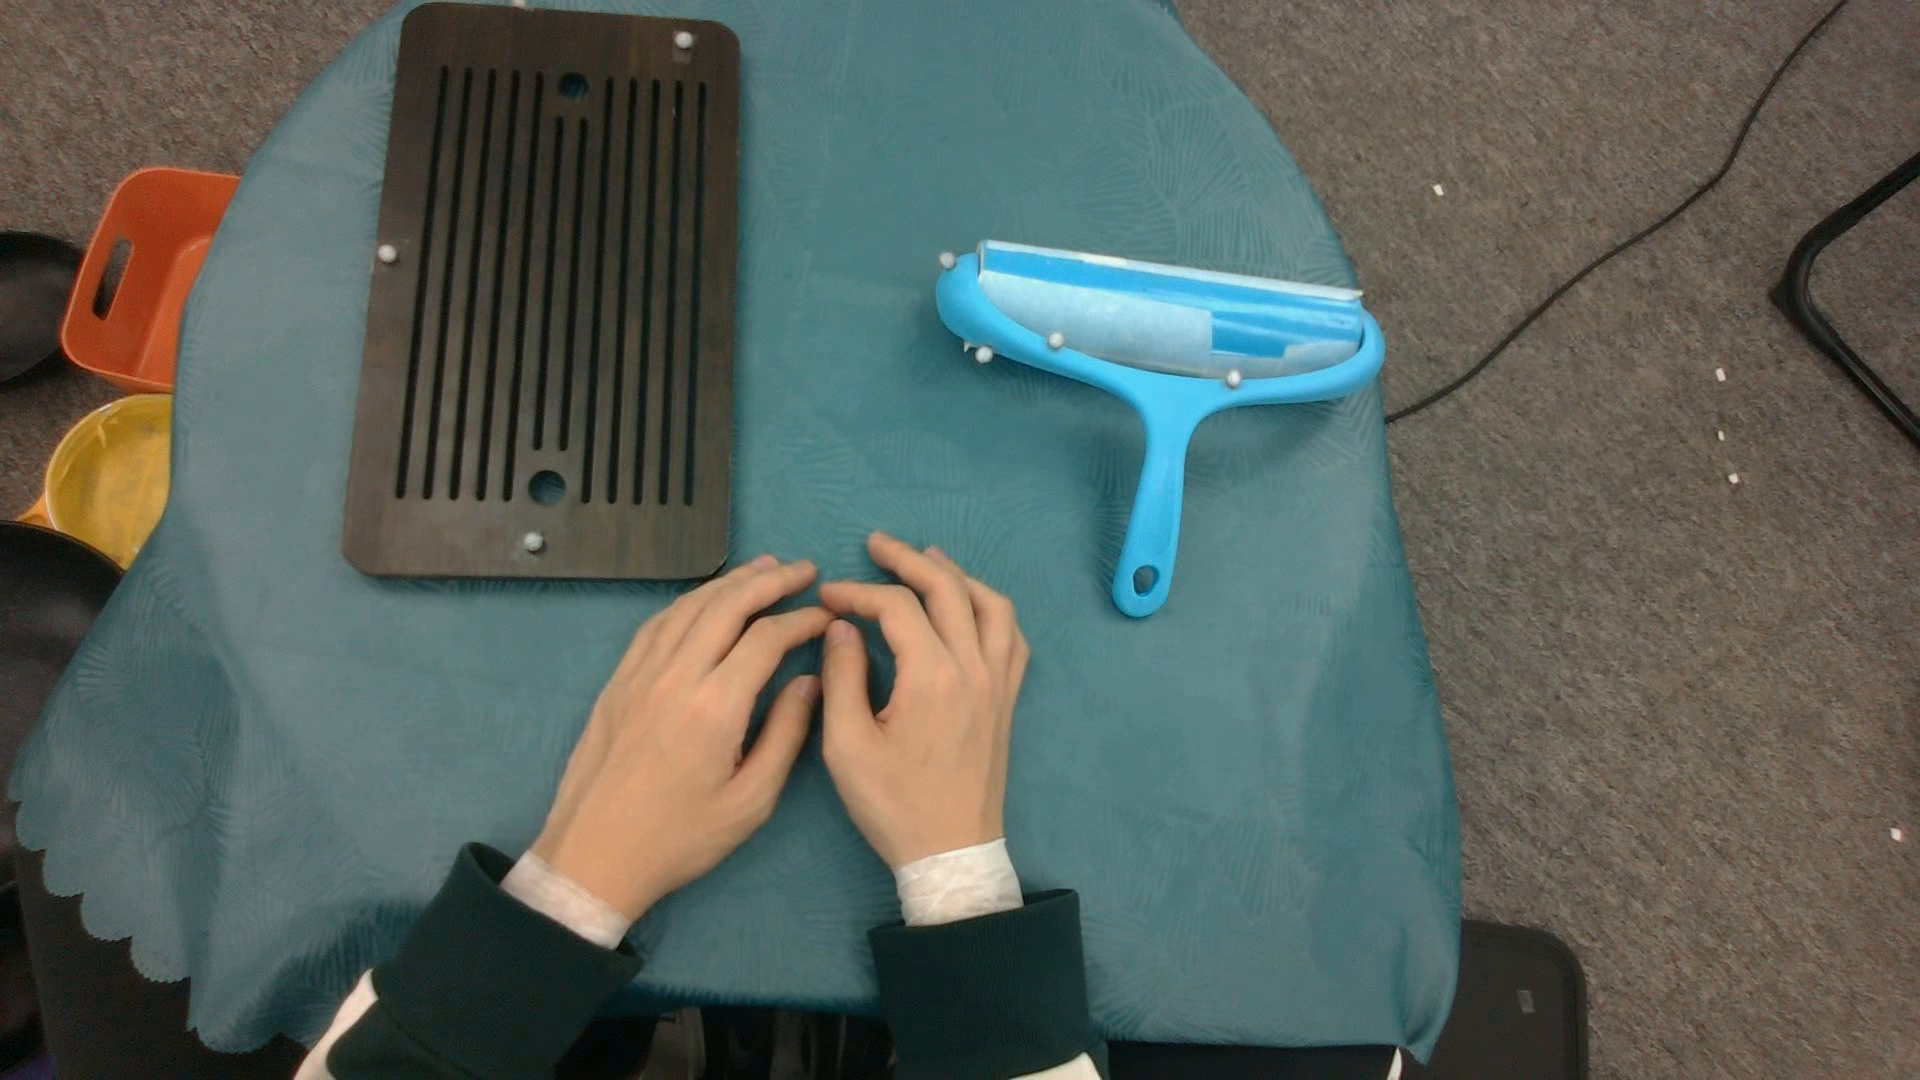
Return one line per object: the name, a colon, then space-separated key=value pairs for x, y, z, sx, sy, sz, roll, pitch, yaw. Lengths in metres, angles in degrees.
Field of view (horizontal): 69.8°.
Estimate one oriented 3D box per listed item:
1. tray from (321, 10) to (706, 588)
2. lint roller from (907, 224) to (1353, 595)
tray: x=-0.212 y=-0.125 z=0.675 sx=0.170 sy=0.018 sz=0.306 roll=-1 pitch=73 yaw=-9
lint roller: x=0.087 y=-0.067 z=0.679 sx=0.229 sy=0.067 sz=0.181 roll=3 pitch=71 yaw=-9
